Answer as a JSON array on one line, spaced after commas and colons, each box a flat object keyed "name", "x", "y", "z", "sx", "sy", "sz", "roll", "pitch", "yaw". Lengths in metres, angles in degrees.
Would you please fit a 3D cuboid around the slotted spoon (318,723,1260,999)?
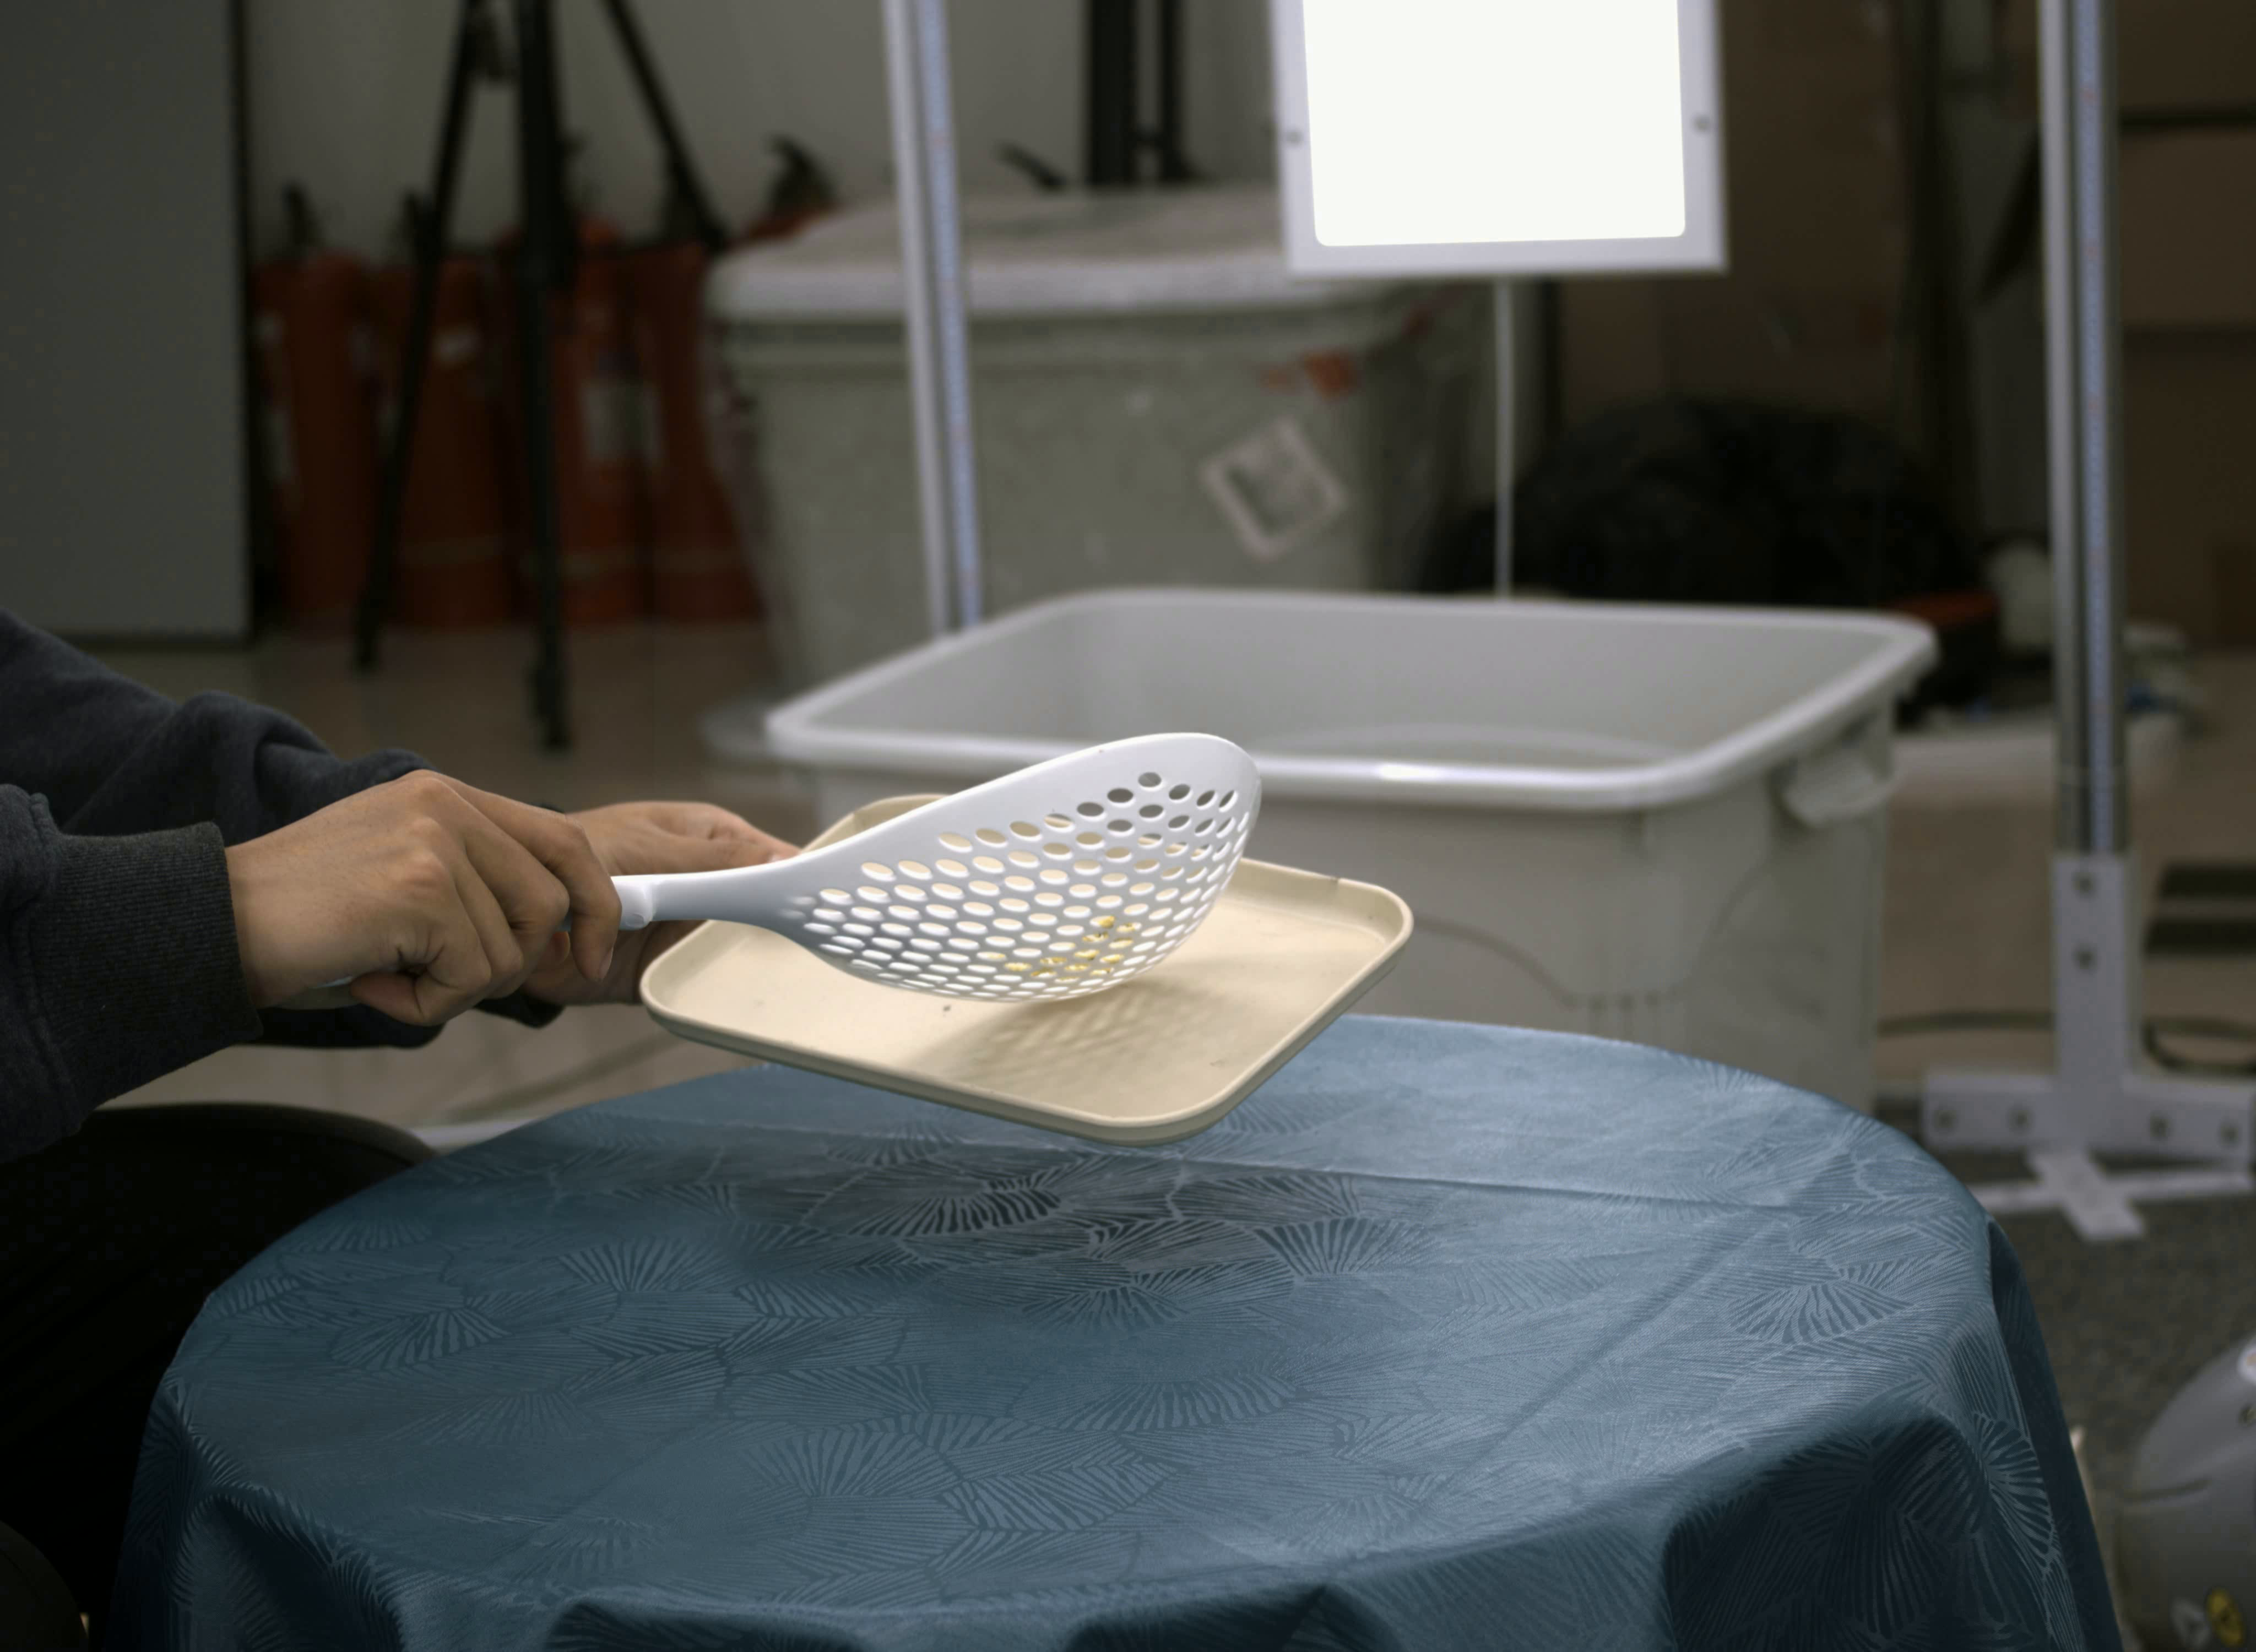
[{"name": "slotted spoon", "x": -0.105, "y": 0.026, "z": 1.758, "sx": 0.340, "sy": 0.139, "sz": 0.050, "roll": 0, "pitch": 53, "yaw": -30}]

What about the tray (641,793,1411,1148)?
[{"name": "tray", "x": -0.035, "y": 0.048, "z": 1.885, "sx": 0.244, "sy": 0.017, "sz": 0.167, "roll": 12, "pitch": 35, "yaw": 35}]
